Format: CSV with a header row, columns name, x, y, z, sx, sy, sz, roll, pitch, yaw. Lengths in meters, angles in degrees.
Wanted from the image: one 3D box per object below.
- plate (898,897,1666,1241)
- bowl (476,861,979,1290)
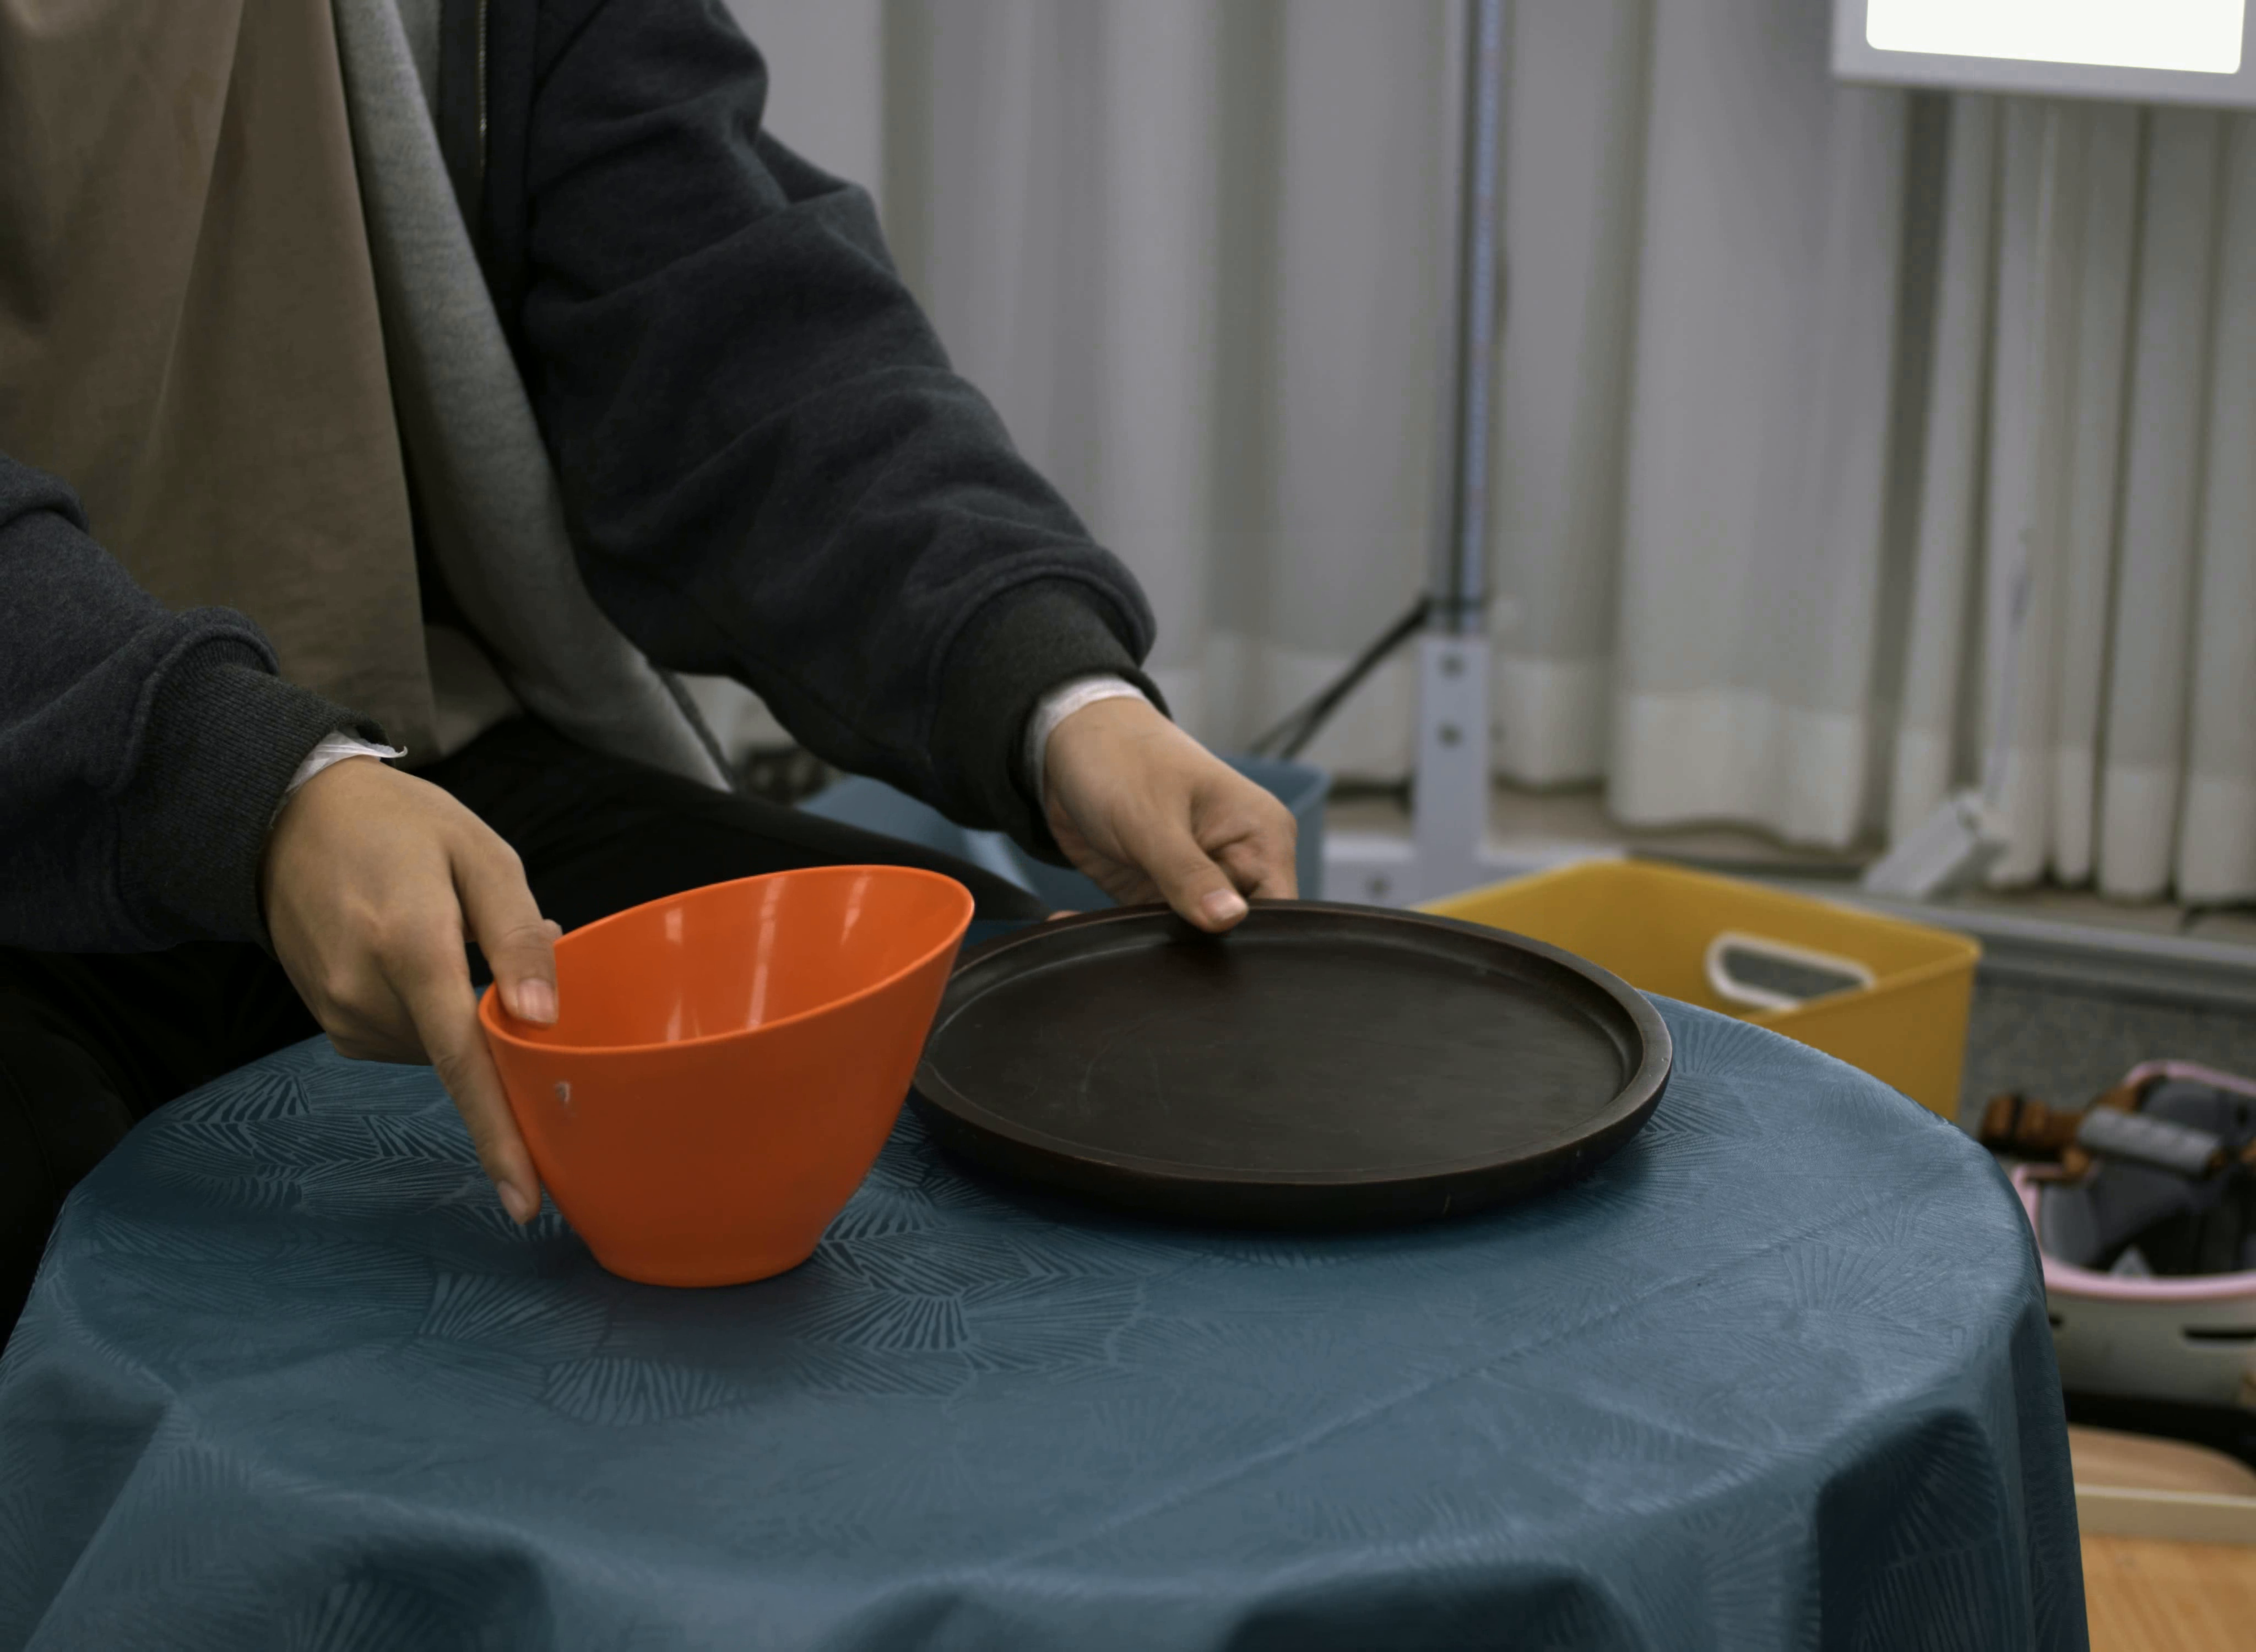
name,x,y,z,sx,sy,sz,roll,pitch,yaw
plate,0.047,0.075,1.691,0.254,0.029,0.253,0,20,0
bowl,-0.117,0.076,1.551,0.147,0.105,0.147,0,20,0
